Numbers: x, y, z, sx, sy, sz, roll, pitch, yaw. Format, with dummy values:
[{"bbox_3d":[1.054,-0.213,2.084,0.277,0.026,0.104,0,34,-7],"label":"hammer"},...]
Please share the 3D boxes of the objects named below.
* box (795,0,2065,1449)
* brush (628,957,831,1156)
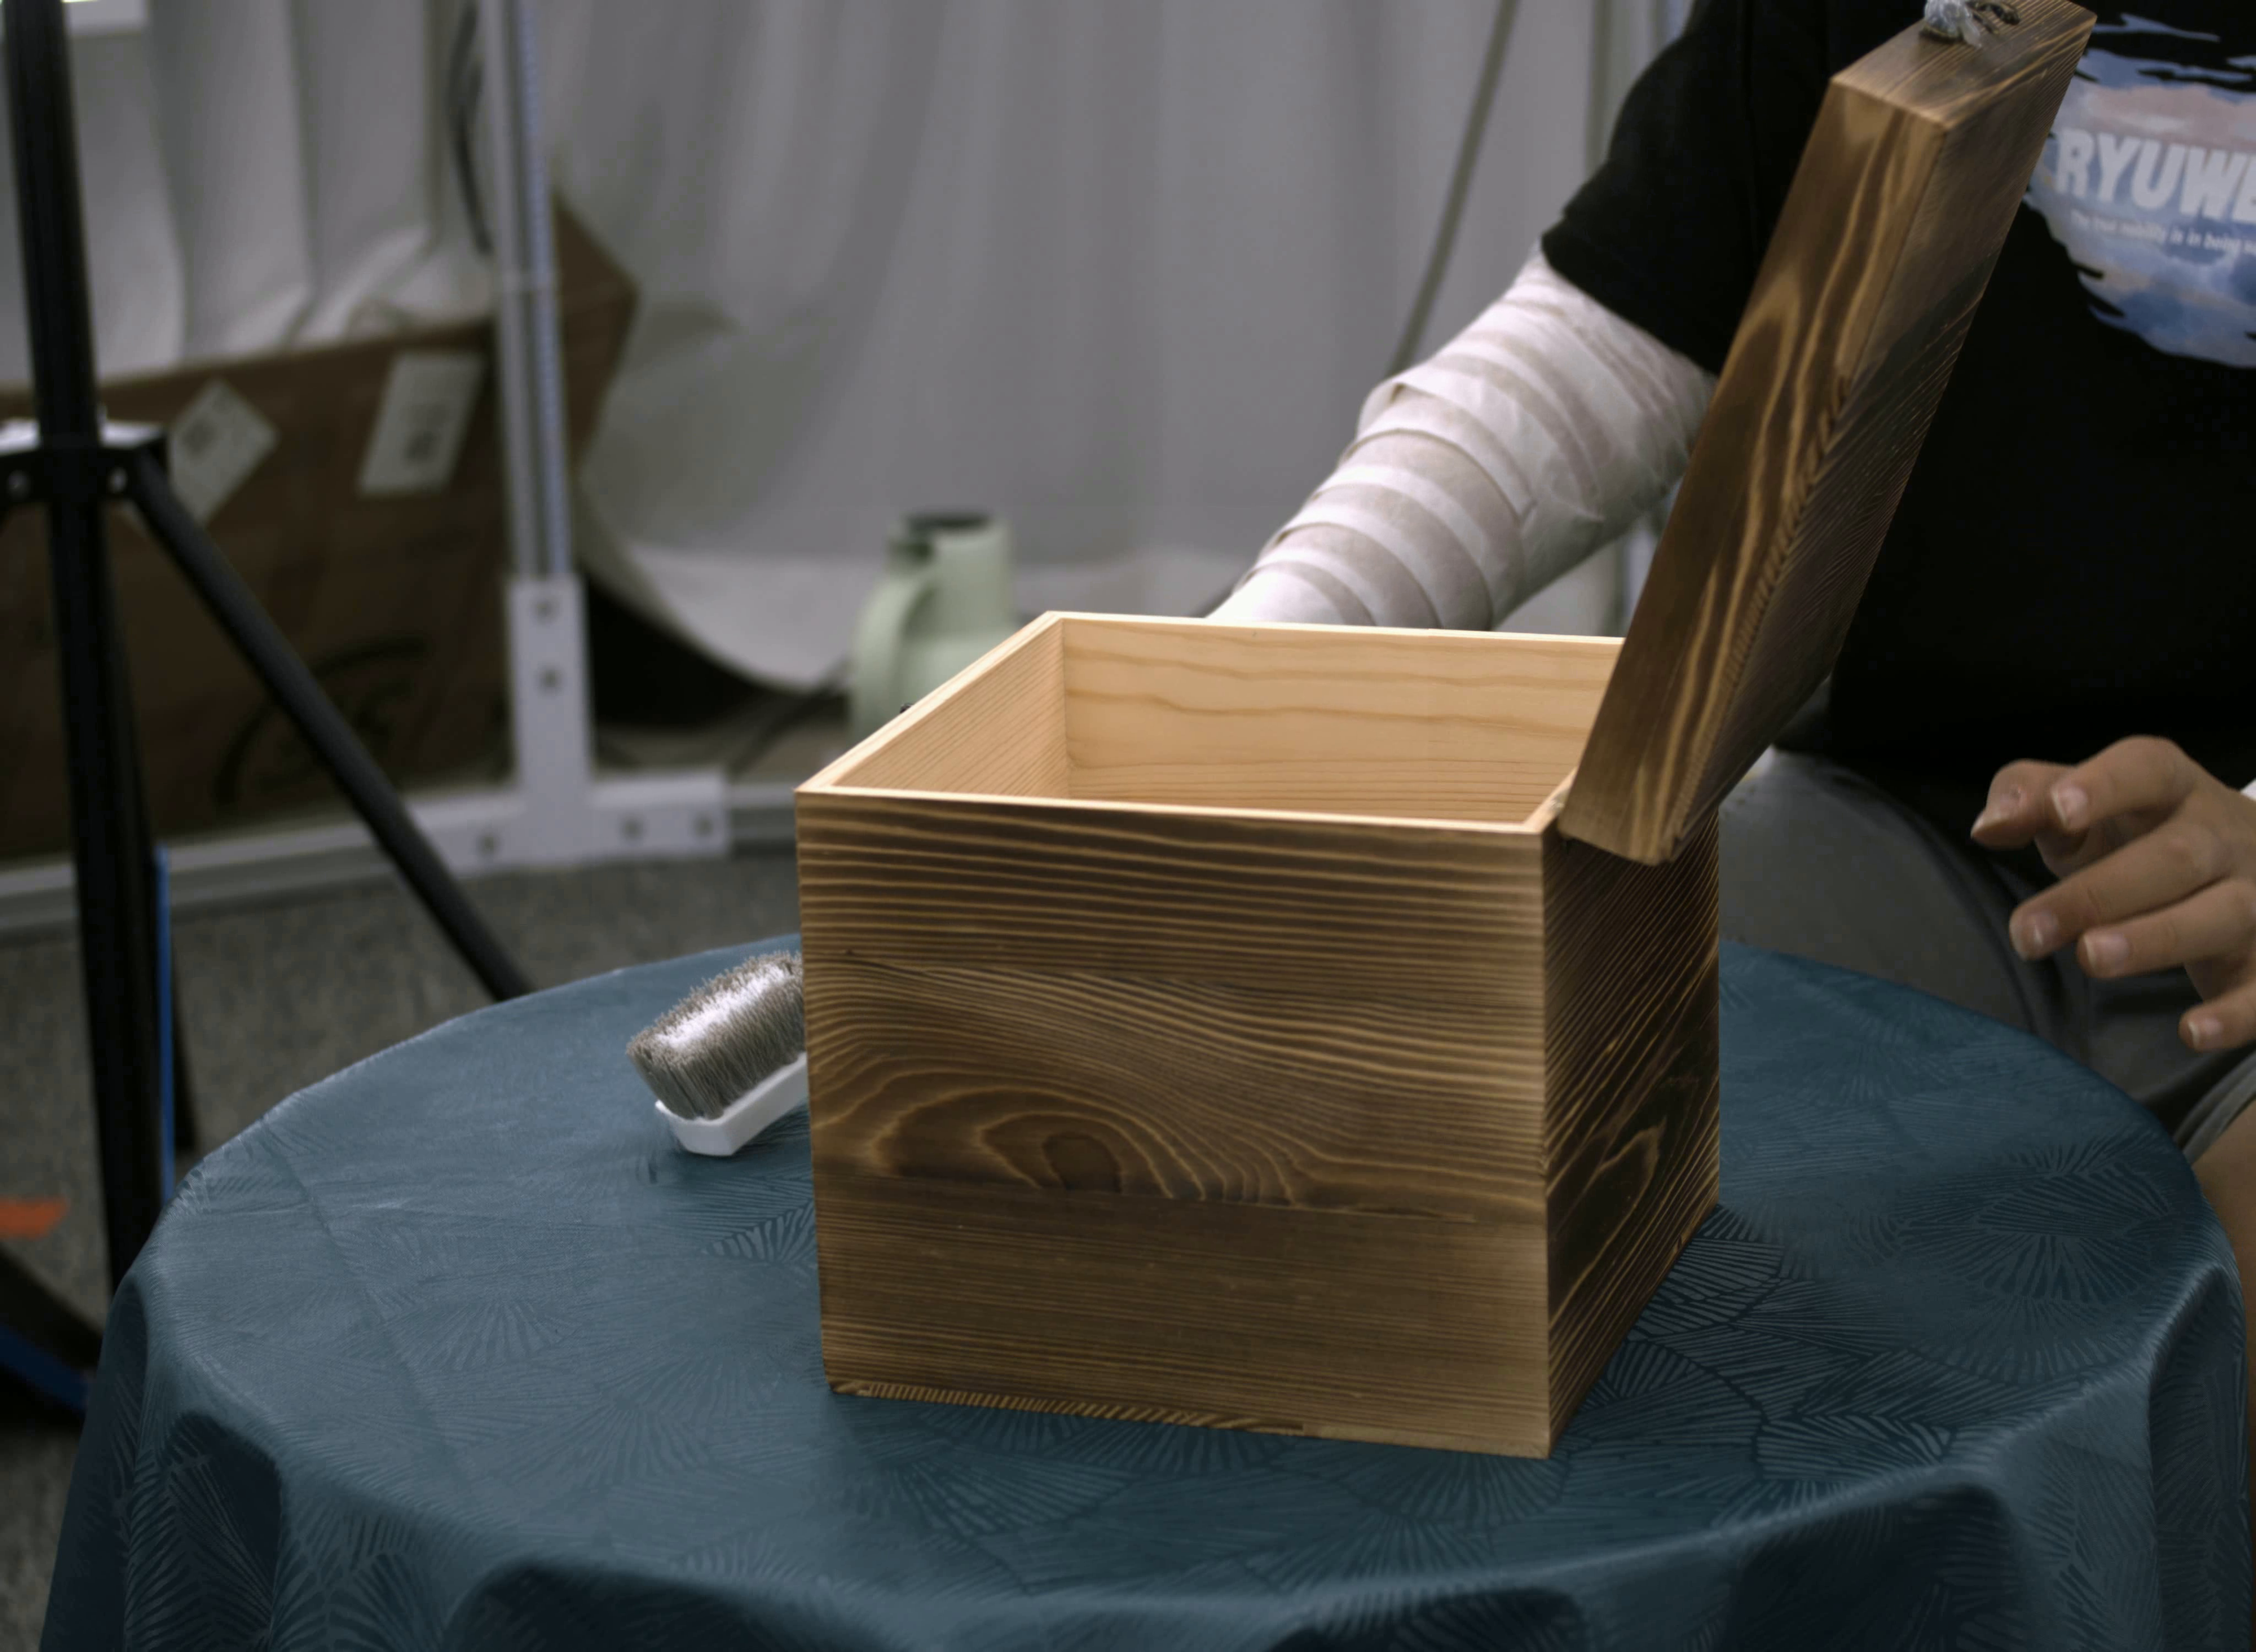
[{"bbox_3d":[0.089,-0.042,1.411,0.326,0.375,0.206,3,15,20],"label":"box"},{"bbox_3d":[-0.053,0.052,1.673,0.238,0.050,0.035,-15,16,-38],"label":"brush"}]
